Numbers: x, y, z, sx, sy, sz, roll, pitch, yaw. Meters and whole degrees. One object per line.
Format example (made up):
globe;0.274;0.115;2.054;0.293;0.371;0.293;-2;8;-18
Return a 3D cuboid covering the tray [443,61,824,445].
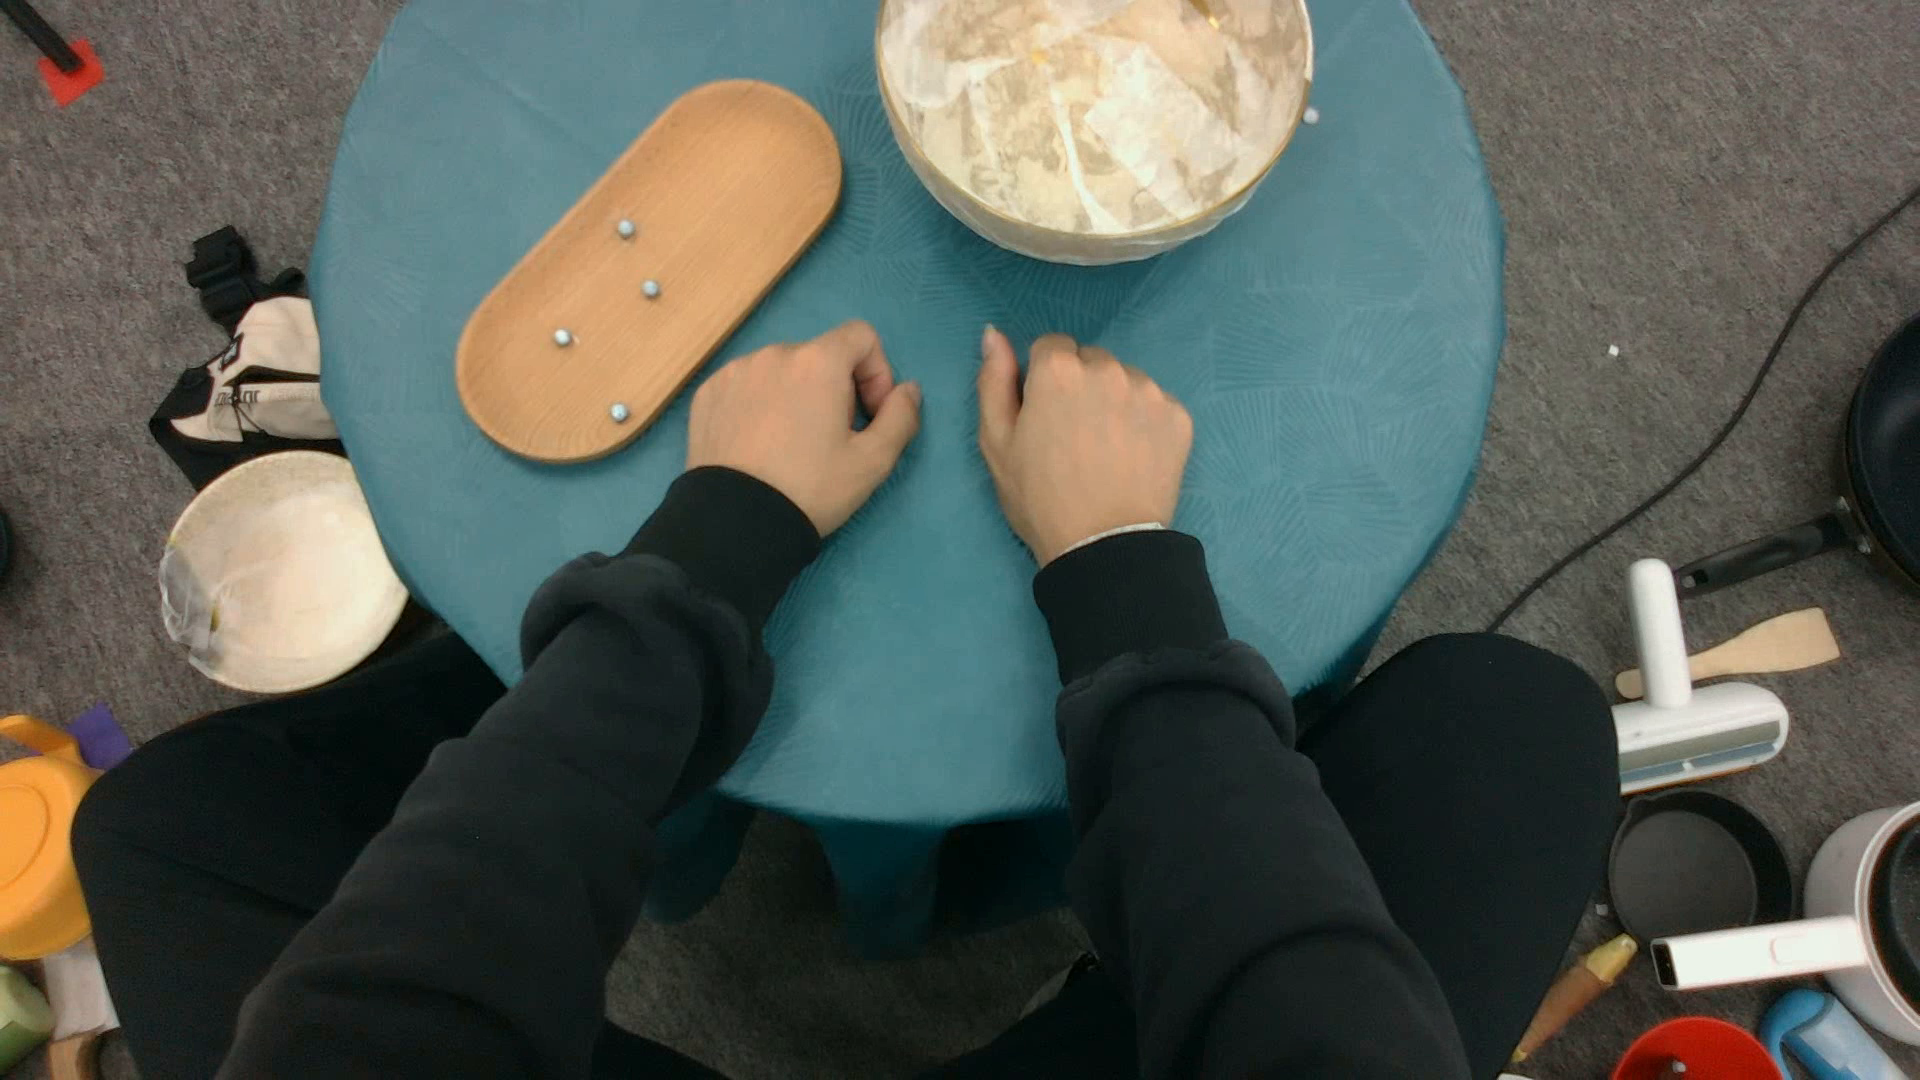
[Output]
tray;-0.158;-0.144;0.680;0.101;0.020;0.232;36;74;4

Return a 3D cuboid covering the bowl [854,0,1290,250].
bowl;0.047;-0.224;0.676;0.215;0.094;0.215;1;75;-4
